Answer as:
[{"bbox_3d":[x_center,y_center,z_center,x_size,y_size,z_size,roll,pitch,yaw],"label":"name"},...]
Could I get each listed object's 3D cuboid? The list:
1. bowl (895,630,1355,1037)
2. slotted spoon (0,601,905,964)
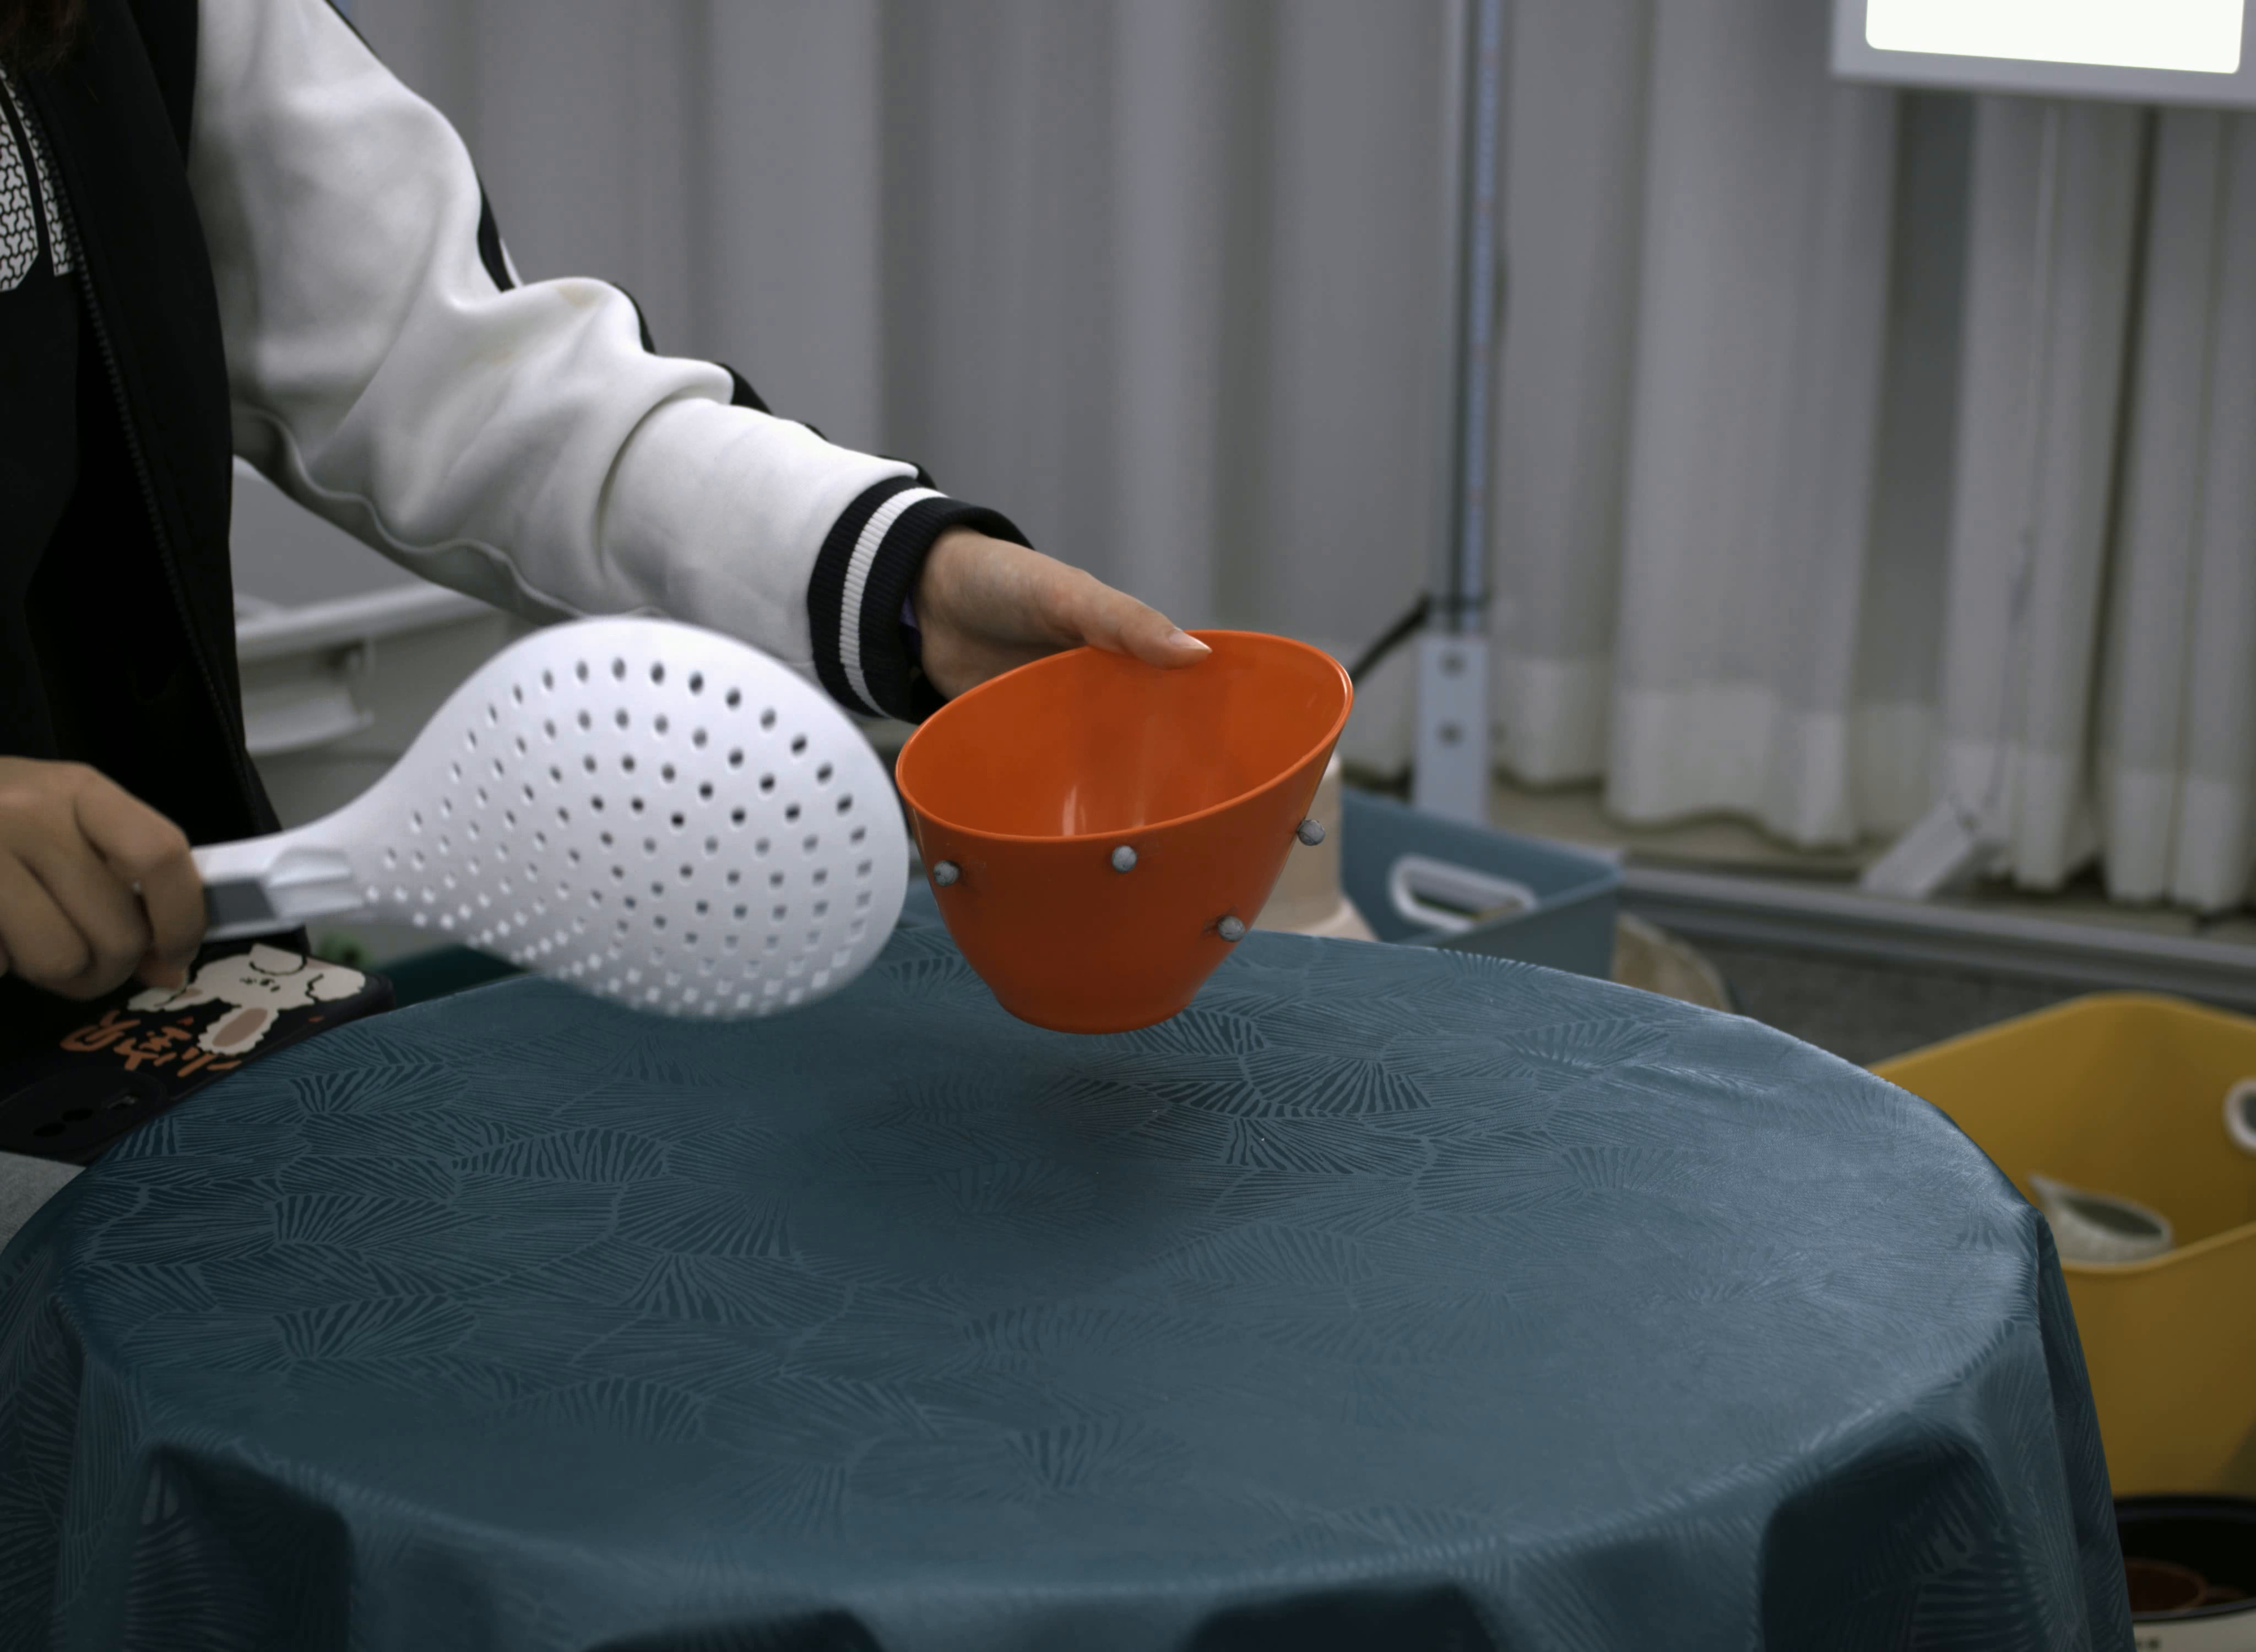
[{"bbox_3d":[0.000,0.007,1.693,0.147,0.106,0.147,-1,27,1],"label":"bowl"},{"bbox_3d":[-0.226,0.007,1.487,0.346,0.138,0.045,-5,44,27],"label":"slotted spoon"}]
